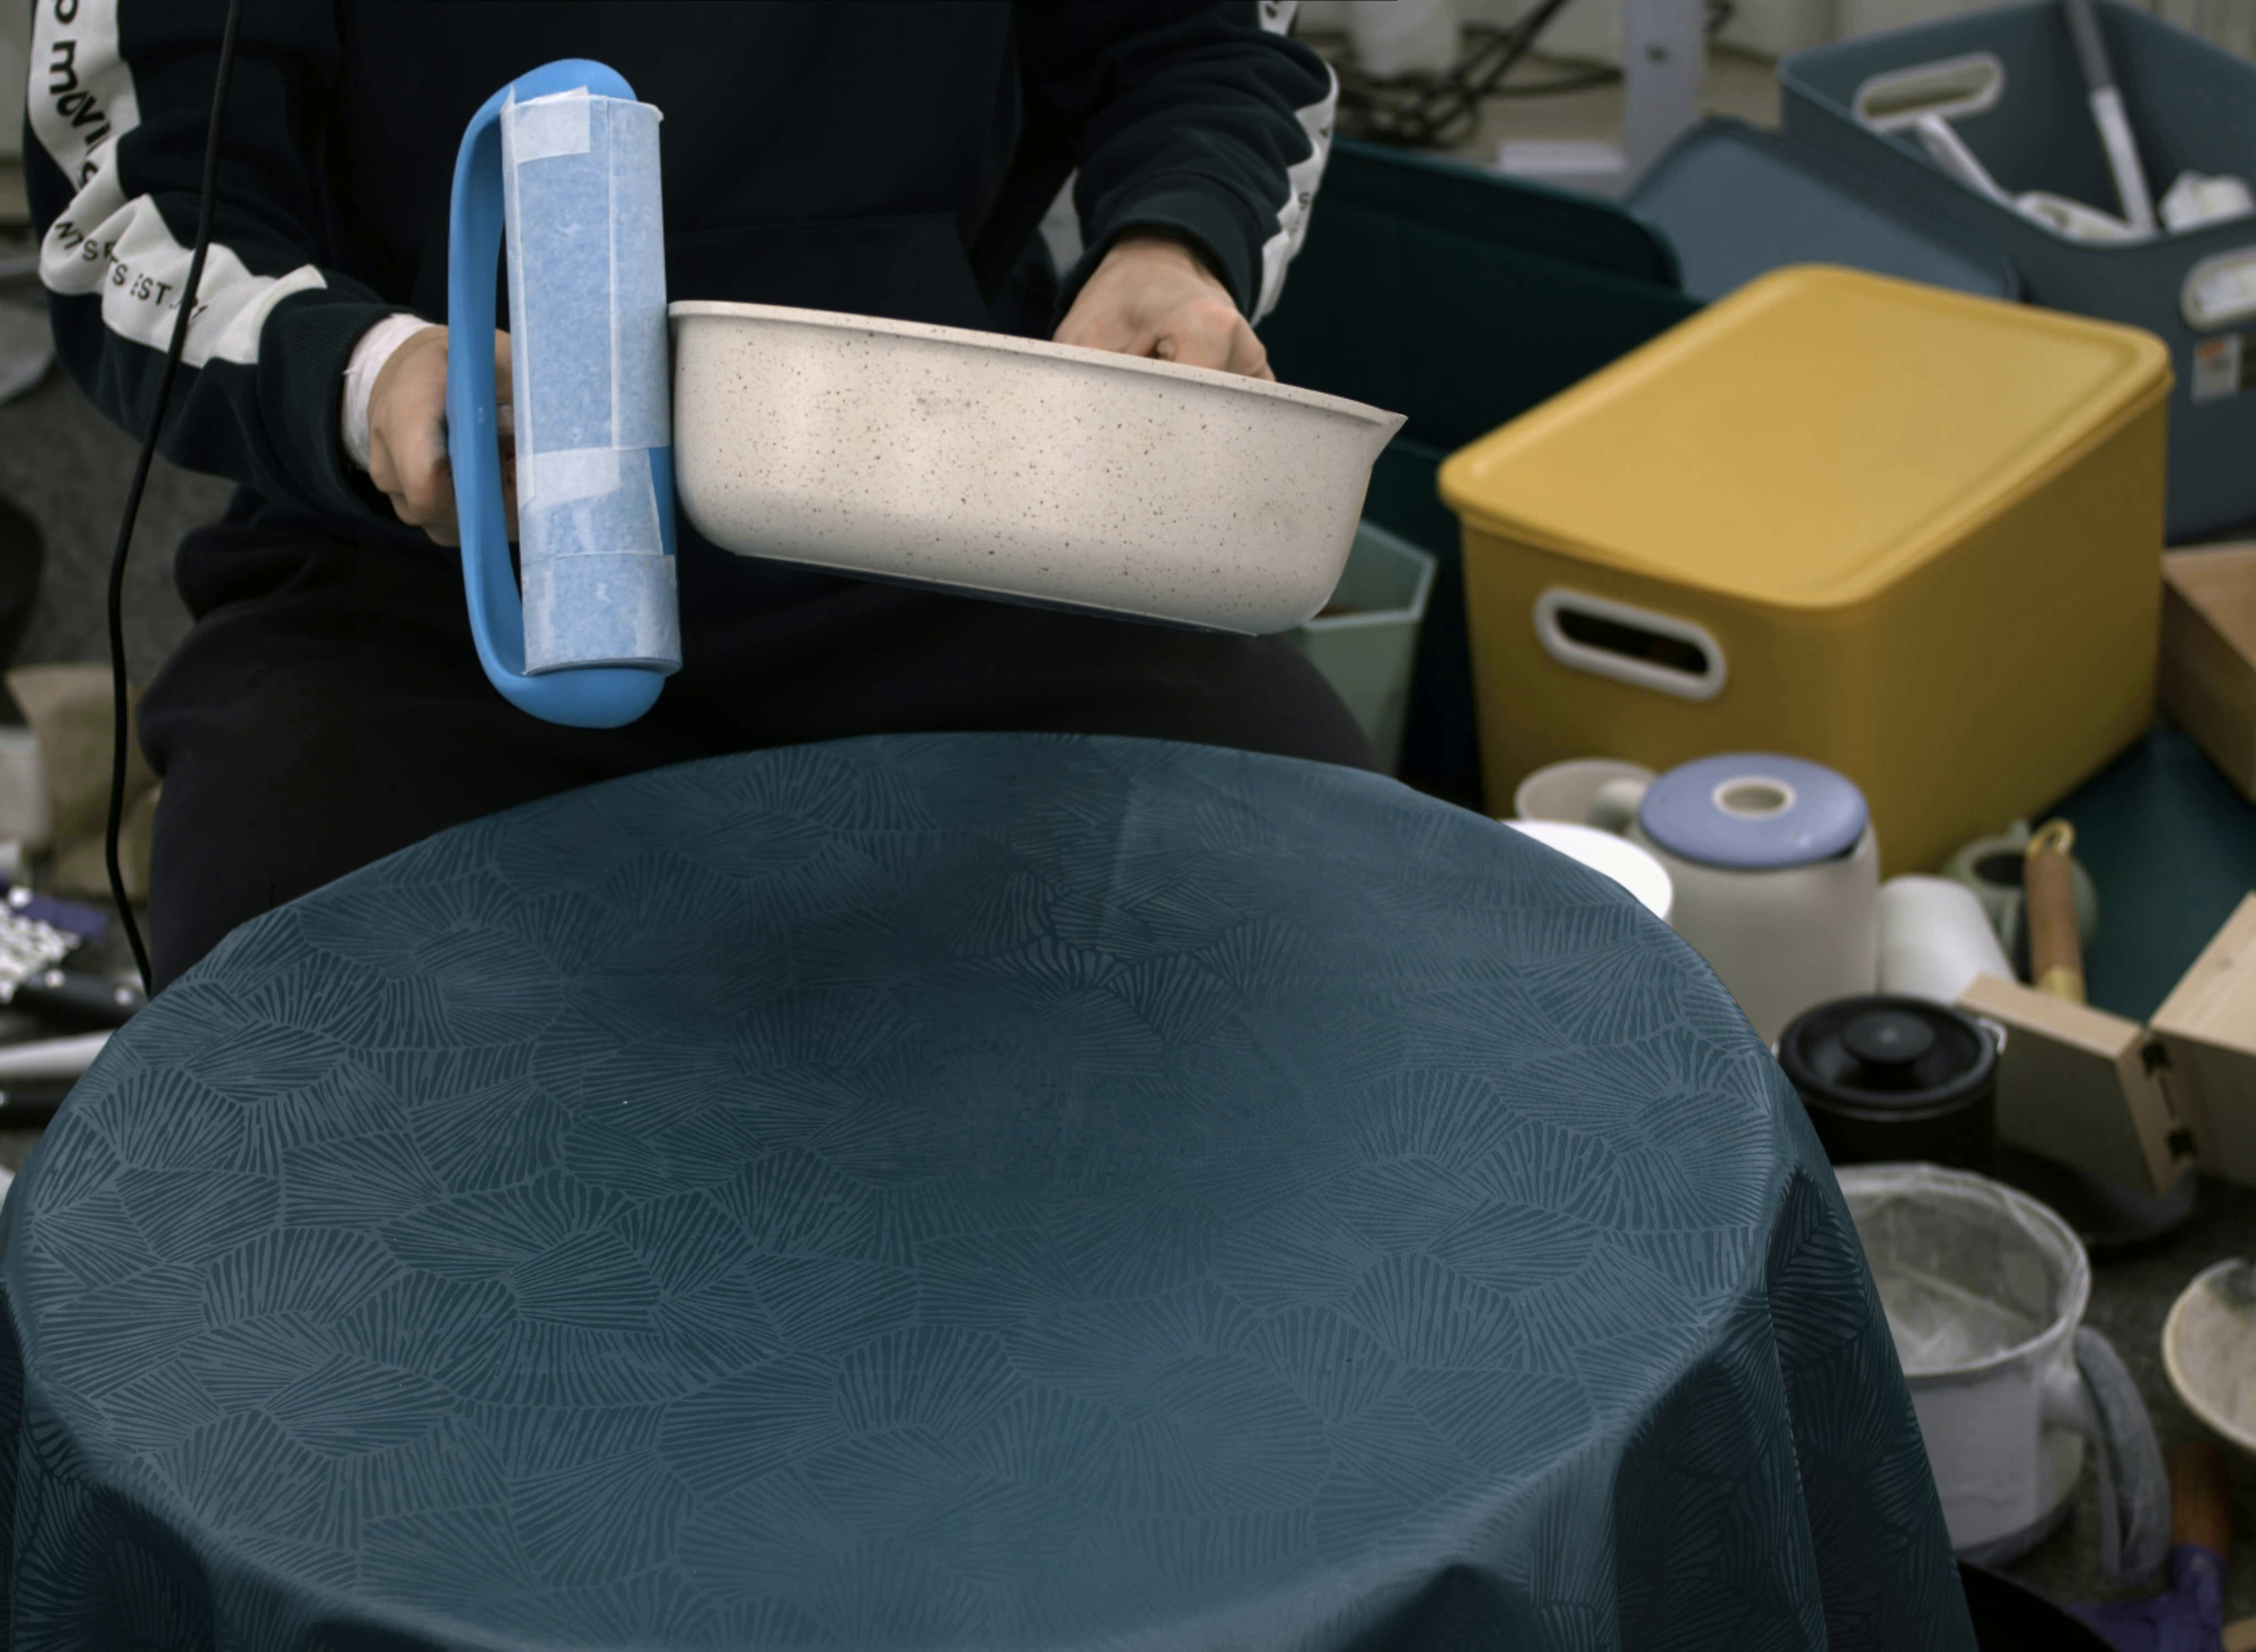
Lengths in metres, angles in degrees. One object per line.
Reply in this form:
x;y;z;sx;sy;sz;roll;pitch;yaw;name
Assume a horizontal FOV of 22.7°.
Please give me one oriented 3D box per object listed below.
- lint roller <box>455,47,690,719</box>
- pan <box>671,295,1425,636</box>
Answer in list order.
-0.203;-0.139;1.955;0.068;0.231;0.178;-1;-11;-23;lint roller
-0.019;-0.126;2.016;0.262;0.102;0.435;8;0;8;pan
